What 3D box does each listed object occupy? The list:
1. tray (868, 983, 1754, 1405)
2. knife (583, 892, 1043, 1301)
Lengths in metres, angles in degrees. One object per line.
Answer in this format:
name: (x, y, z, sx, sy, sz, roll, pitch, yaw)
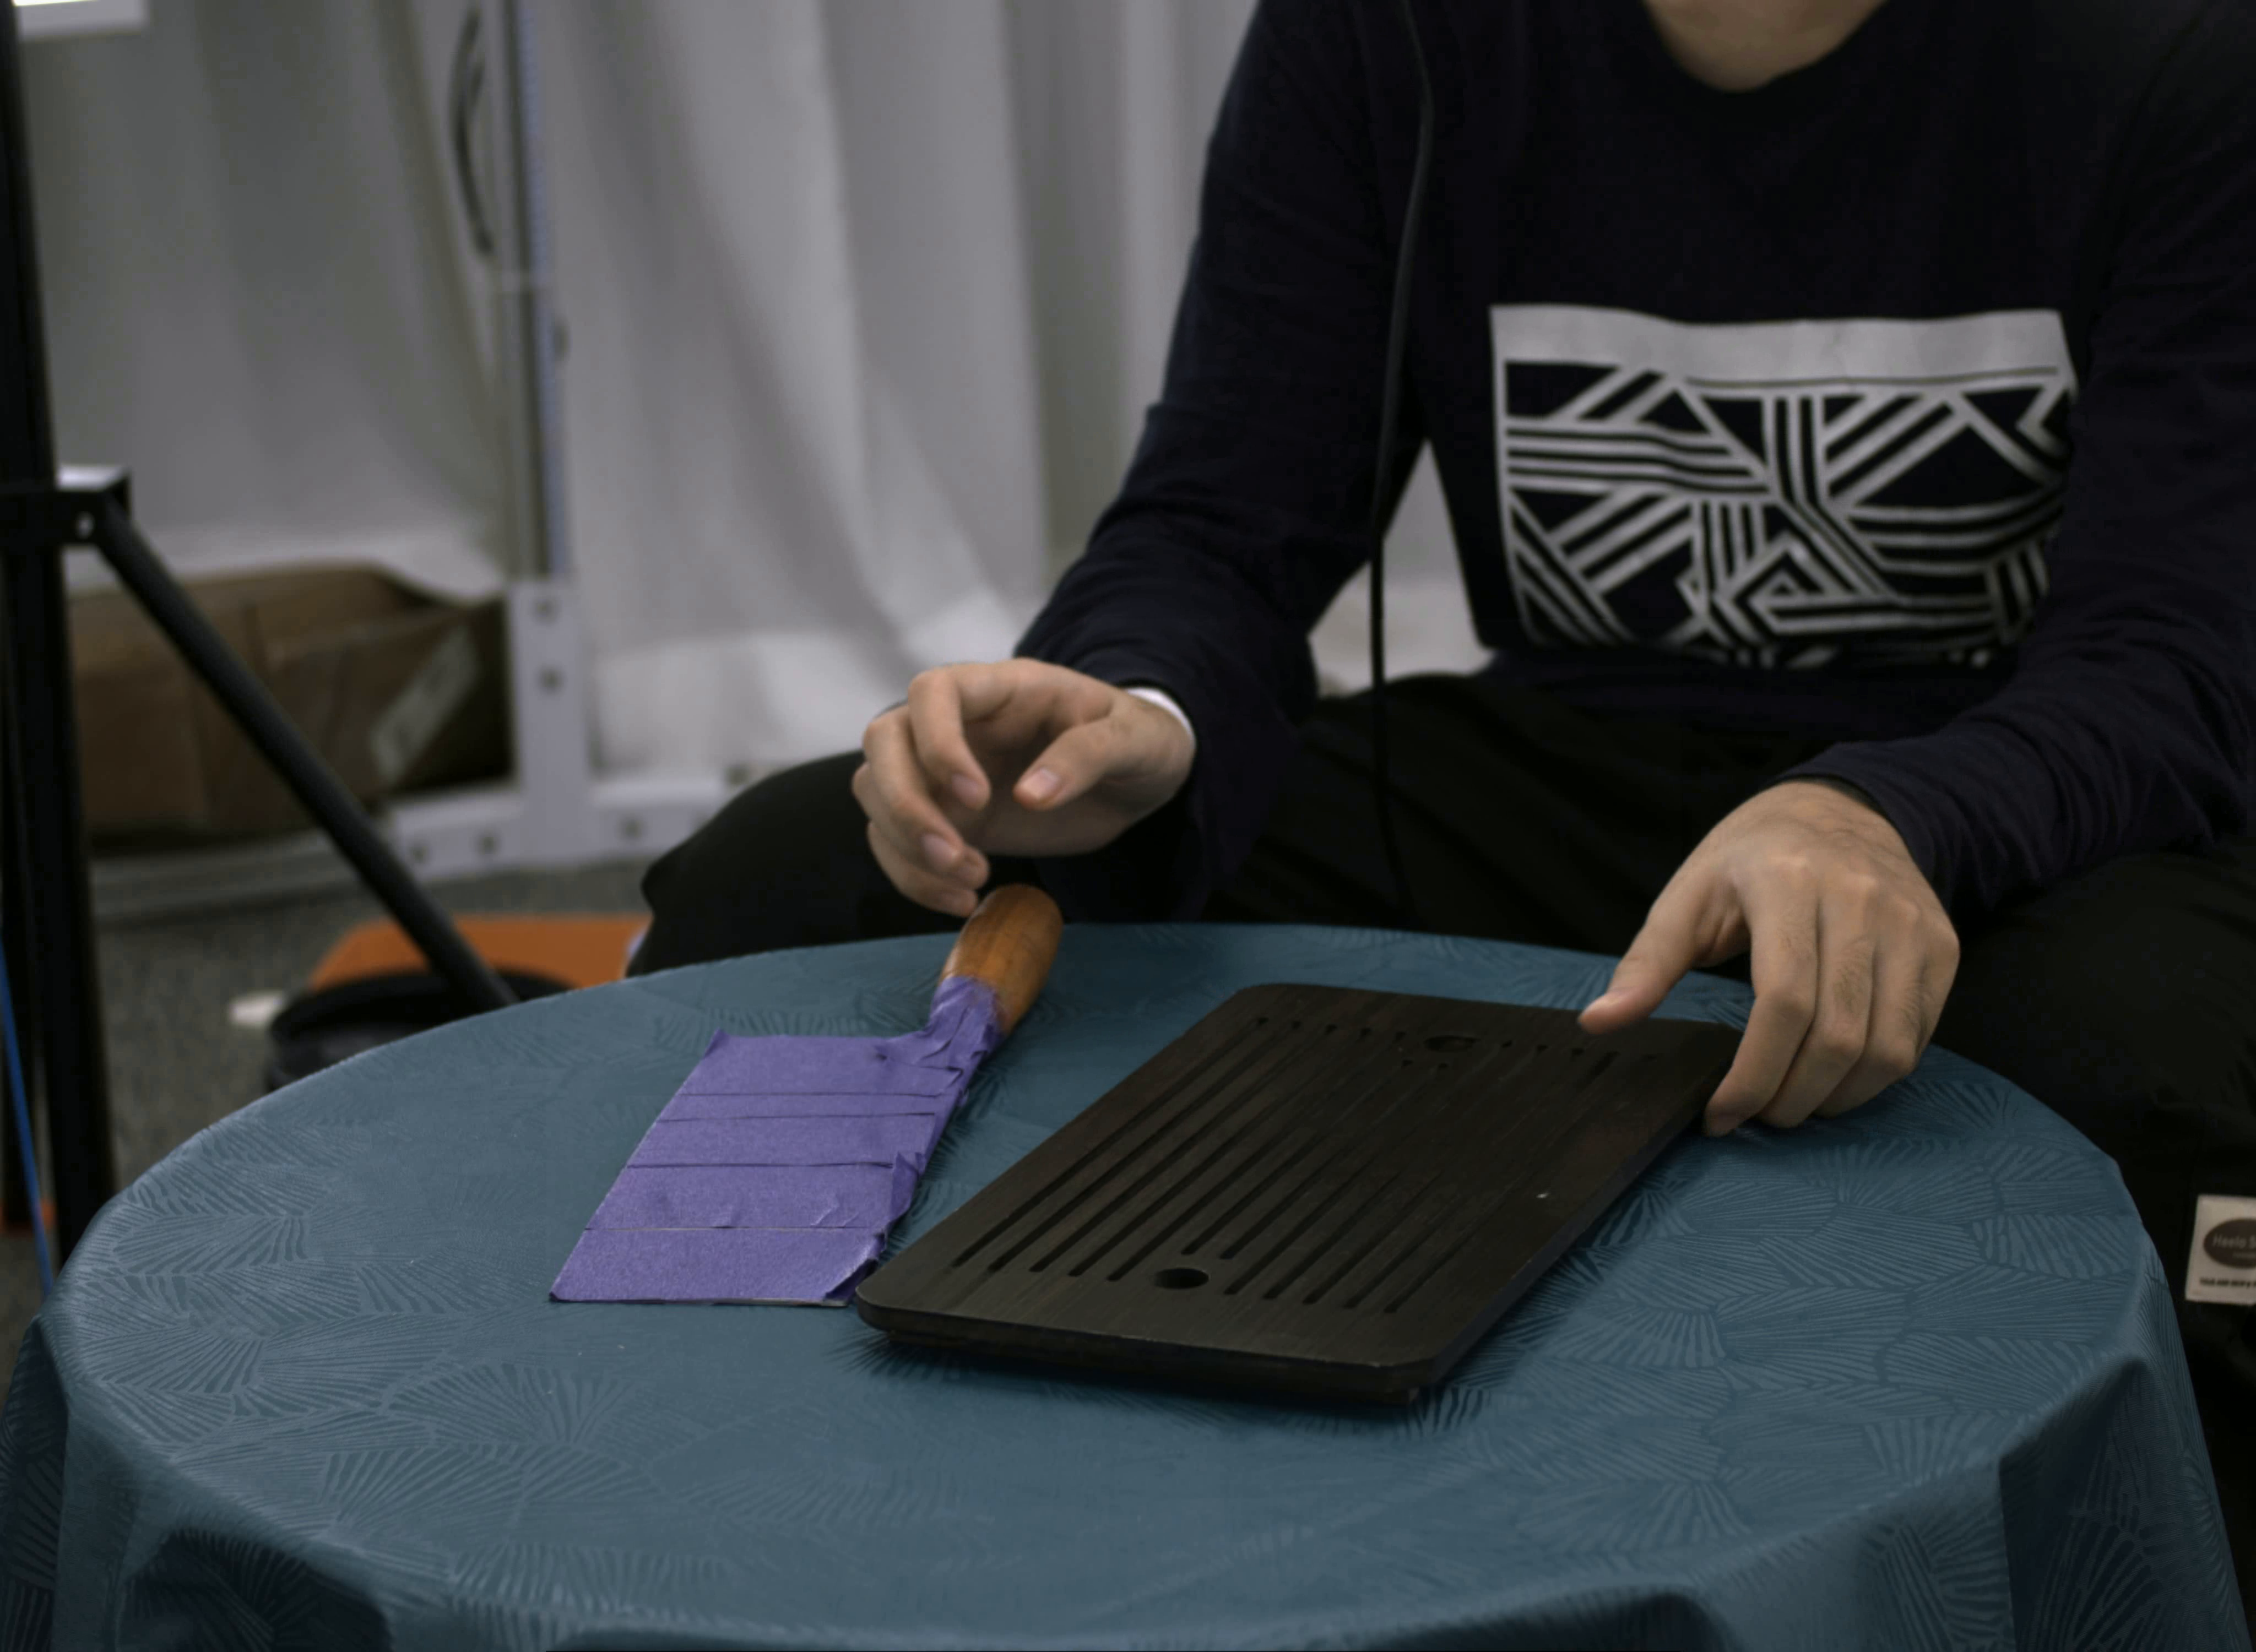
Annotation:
tray: (0.061, 0.103, 1.536, 0.172, 0.018, 0.301, 4, 17, 23)
knife: (-0.094, 0.079, 1.628, 0.104, 0.032, 0.314, 1, 16, 9)
